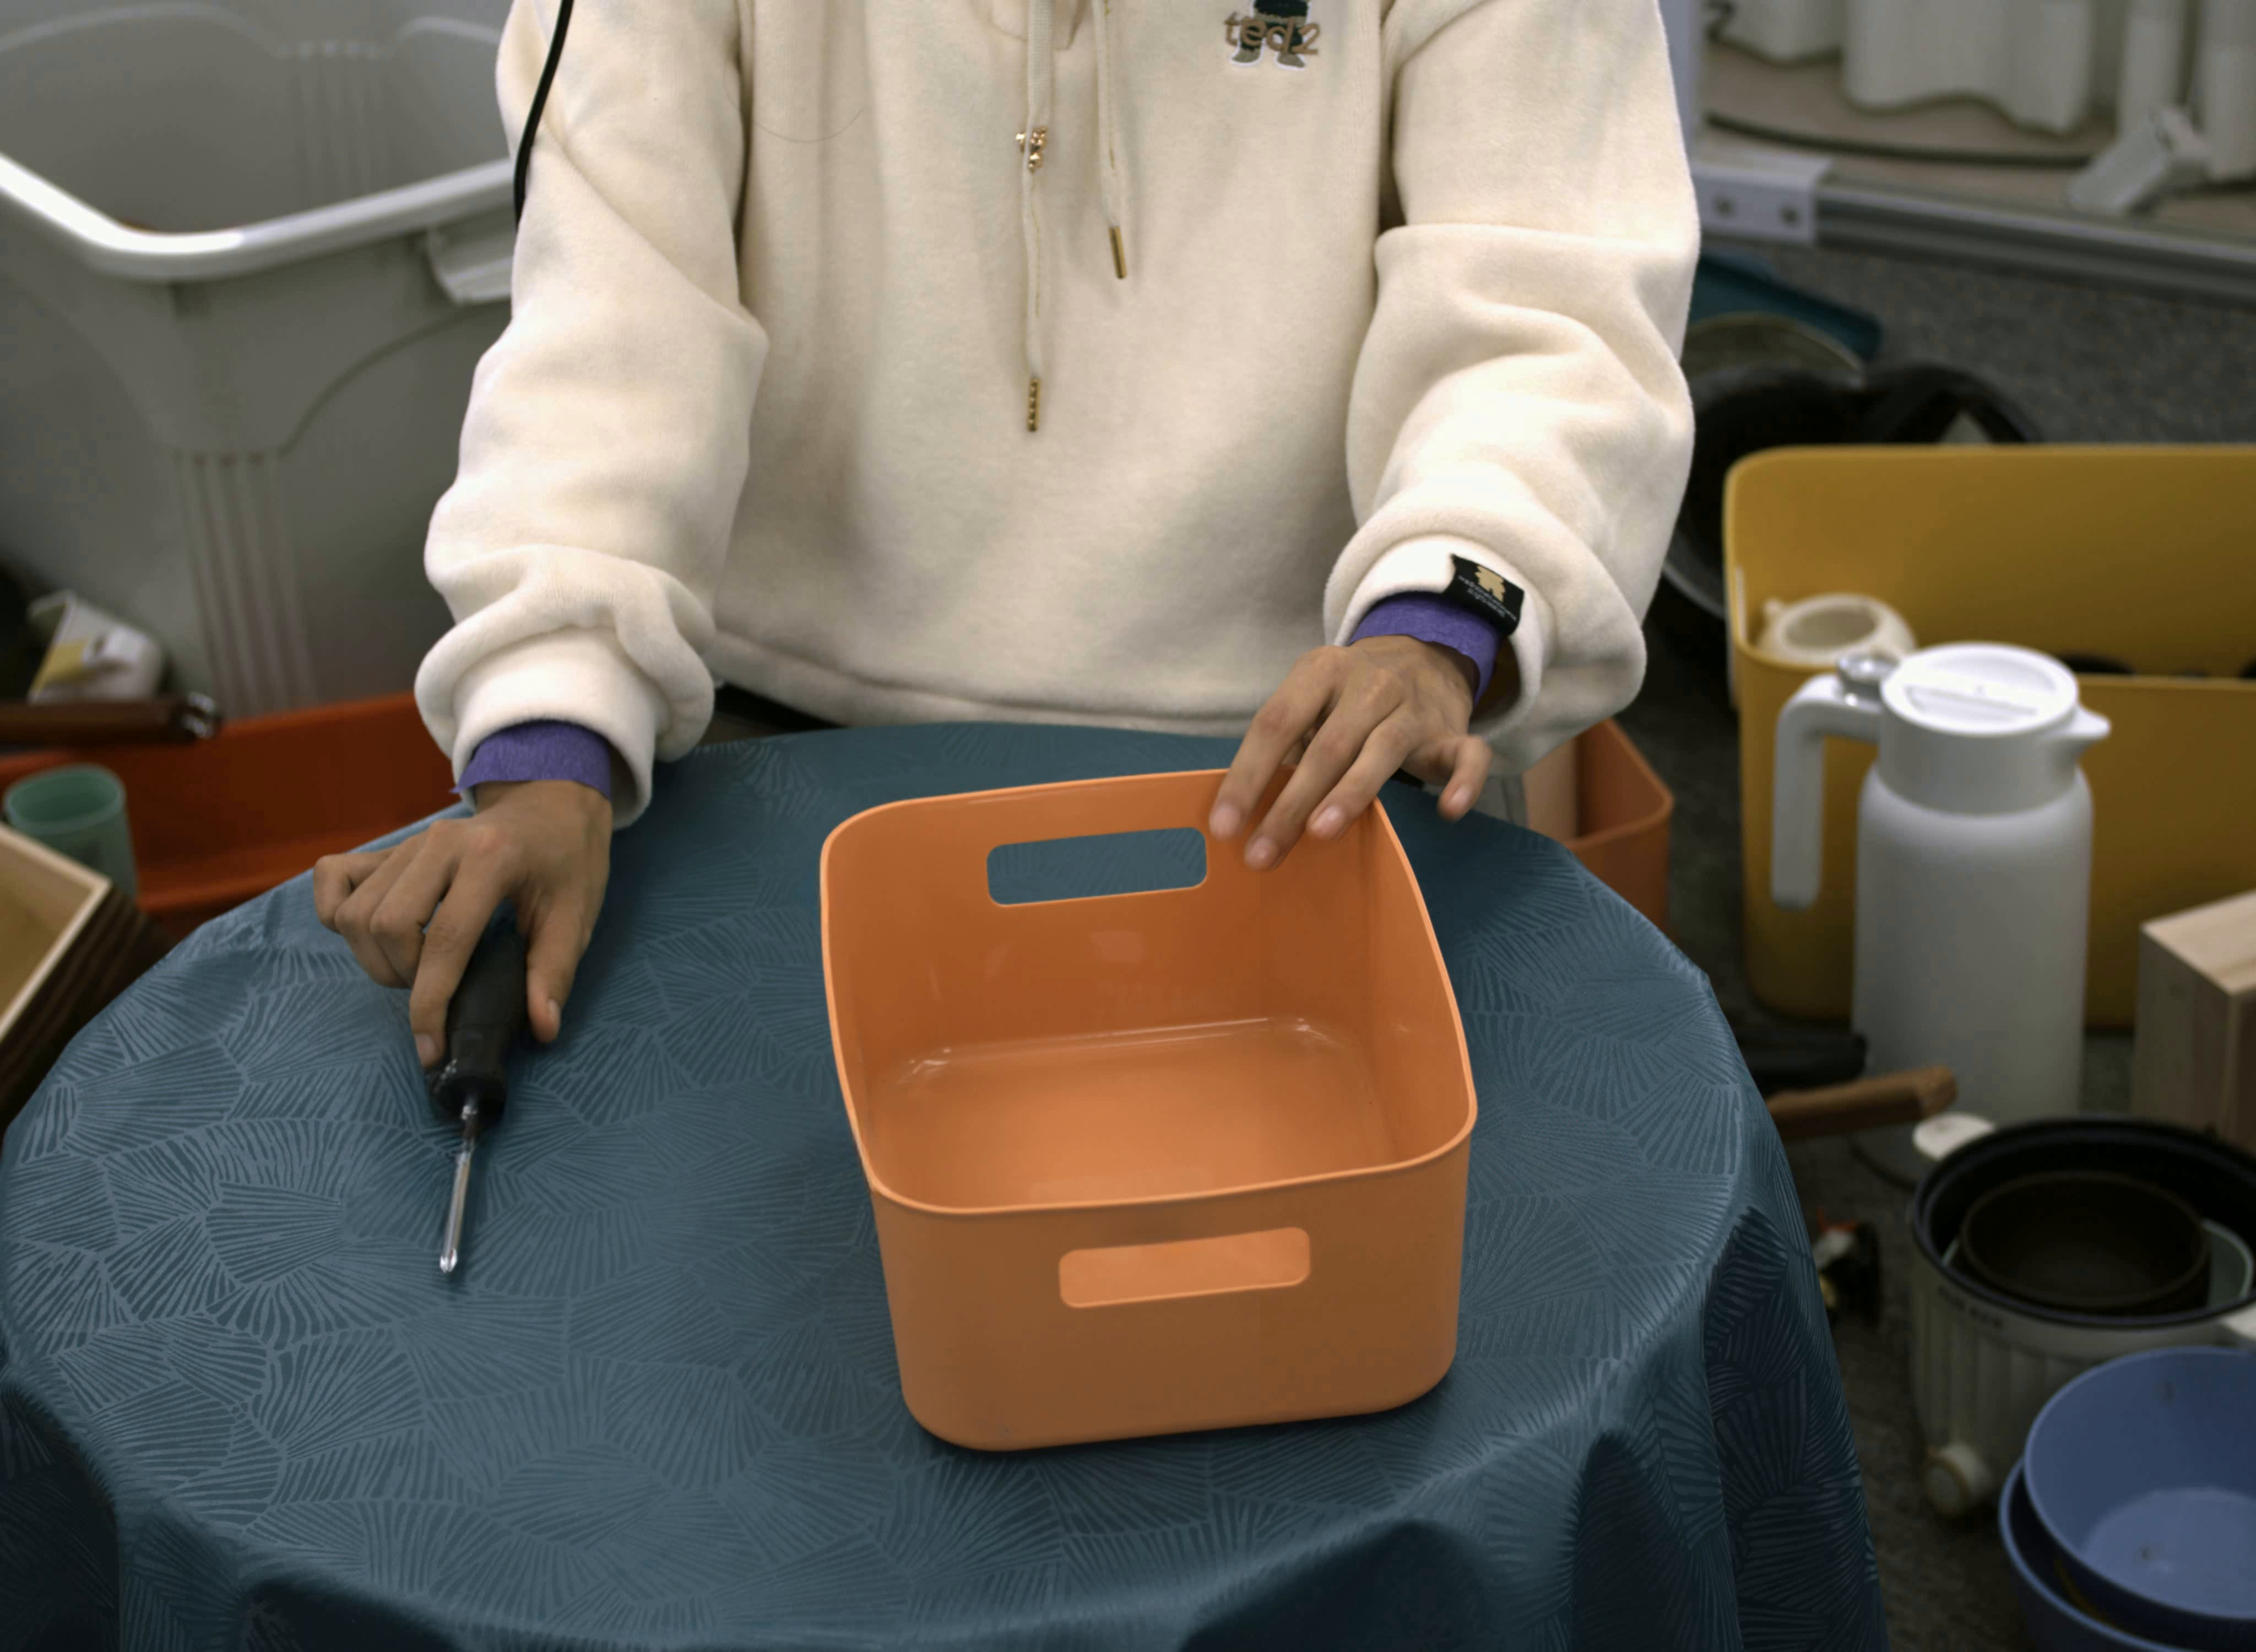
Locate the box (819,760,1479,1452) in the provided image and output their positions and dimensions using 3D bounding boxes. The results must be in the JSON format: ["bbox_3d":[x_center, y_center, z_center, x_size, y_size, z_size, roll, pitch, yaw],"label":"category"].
[{"bbox_3d":[0.006,0.089,1.811,0.199,0.101,0.277,-6,28,-4],"label":"box"}]

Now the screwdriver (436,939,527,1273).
[{"bbox_3d":[-0.227,0.098,1.911,0.031,0.031,0.199,-2,31,2],"label":"screwdriver"}]
